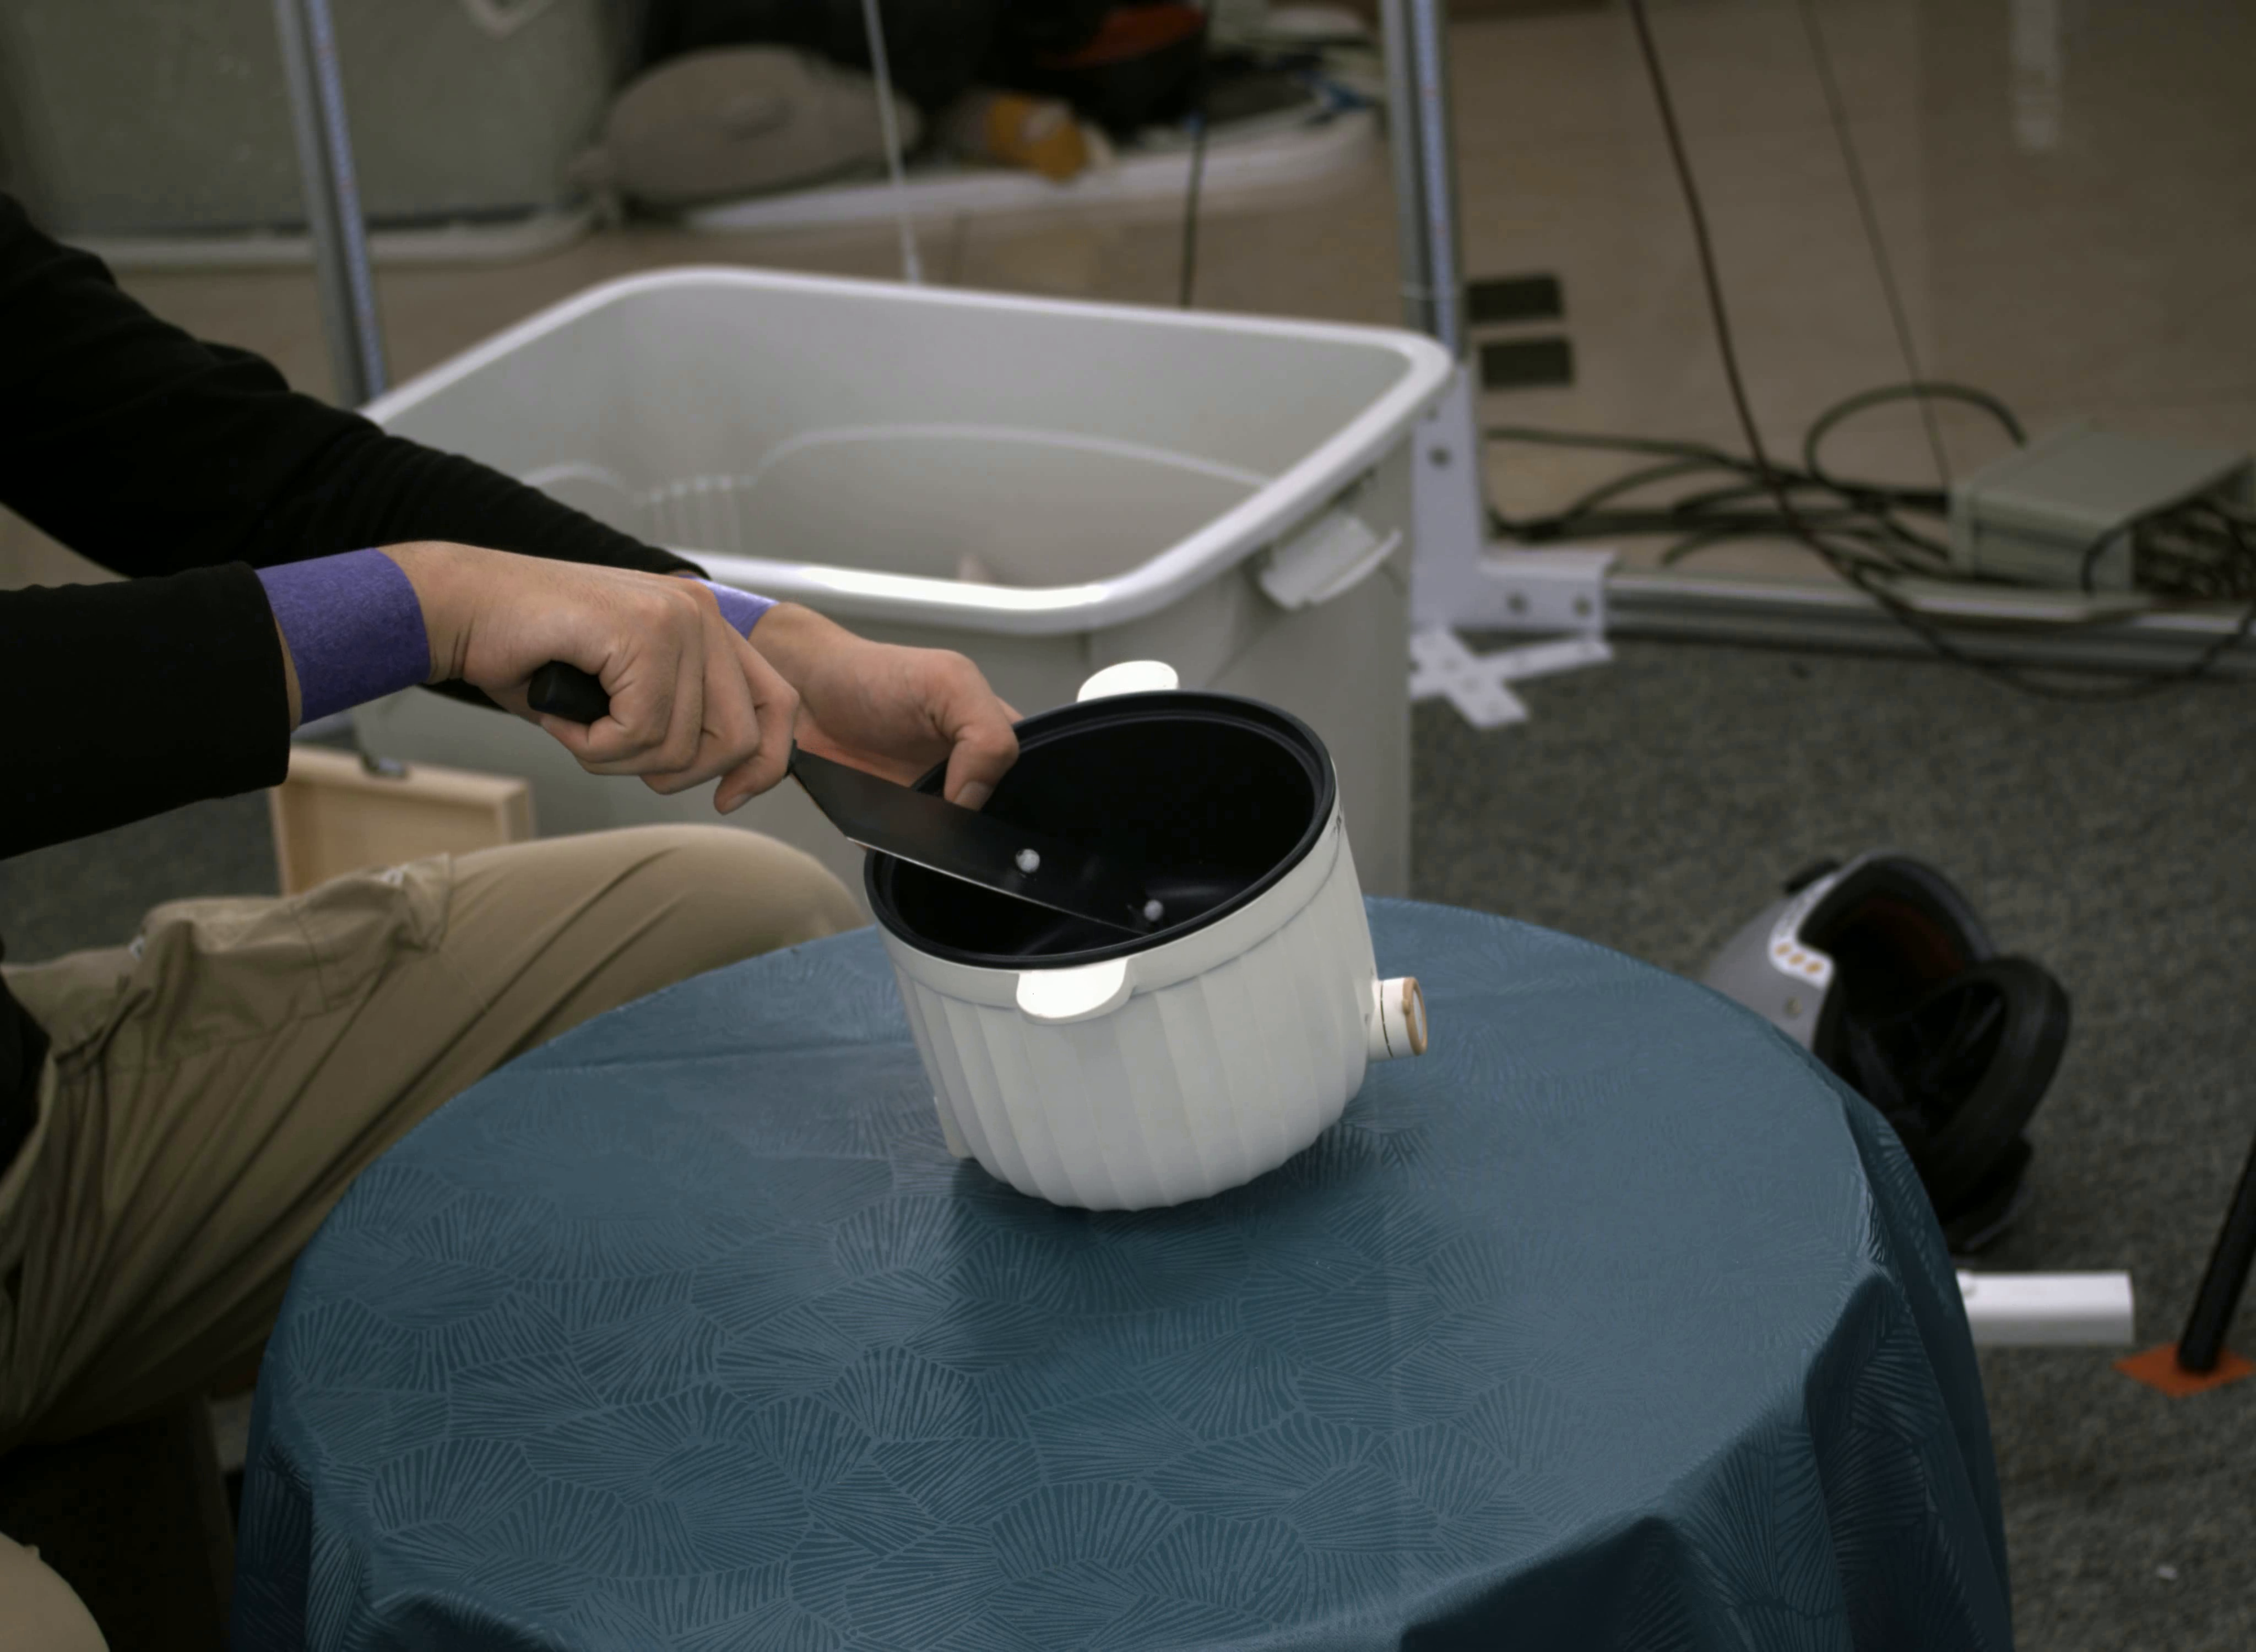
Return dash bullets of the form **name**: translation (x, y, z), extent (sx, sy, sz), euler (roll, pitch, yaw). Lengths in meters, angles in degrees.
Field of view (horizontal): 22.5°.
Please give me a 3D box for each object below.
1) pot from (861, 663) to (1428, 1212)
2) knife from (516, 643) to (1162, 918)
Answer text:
- **pot**: translation (0.009, 0.052, 2.145), extent (0.190, 0.145, 0.236), euler (-11, 33, 13)
- **knife**: translation (-0.102, -0.013, 2.086), extent (0.304, 0.021, 0.079), euler (21, 20, -39)
